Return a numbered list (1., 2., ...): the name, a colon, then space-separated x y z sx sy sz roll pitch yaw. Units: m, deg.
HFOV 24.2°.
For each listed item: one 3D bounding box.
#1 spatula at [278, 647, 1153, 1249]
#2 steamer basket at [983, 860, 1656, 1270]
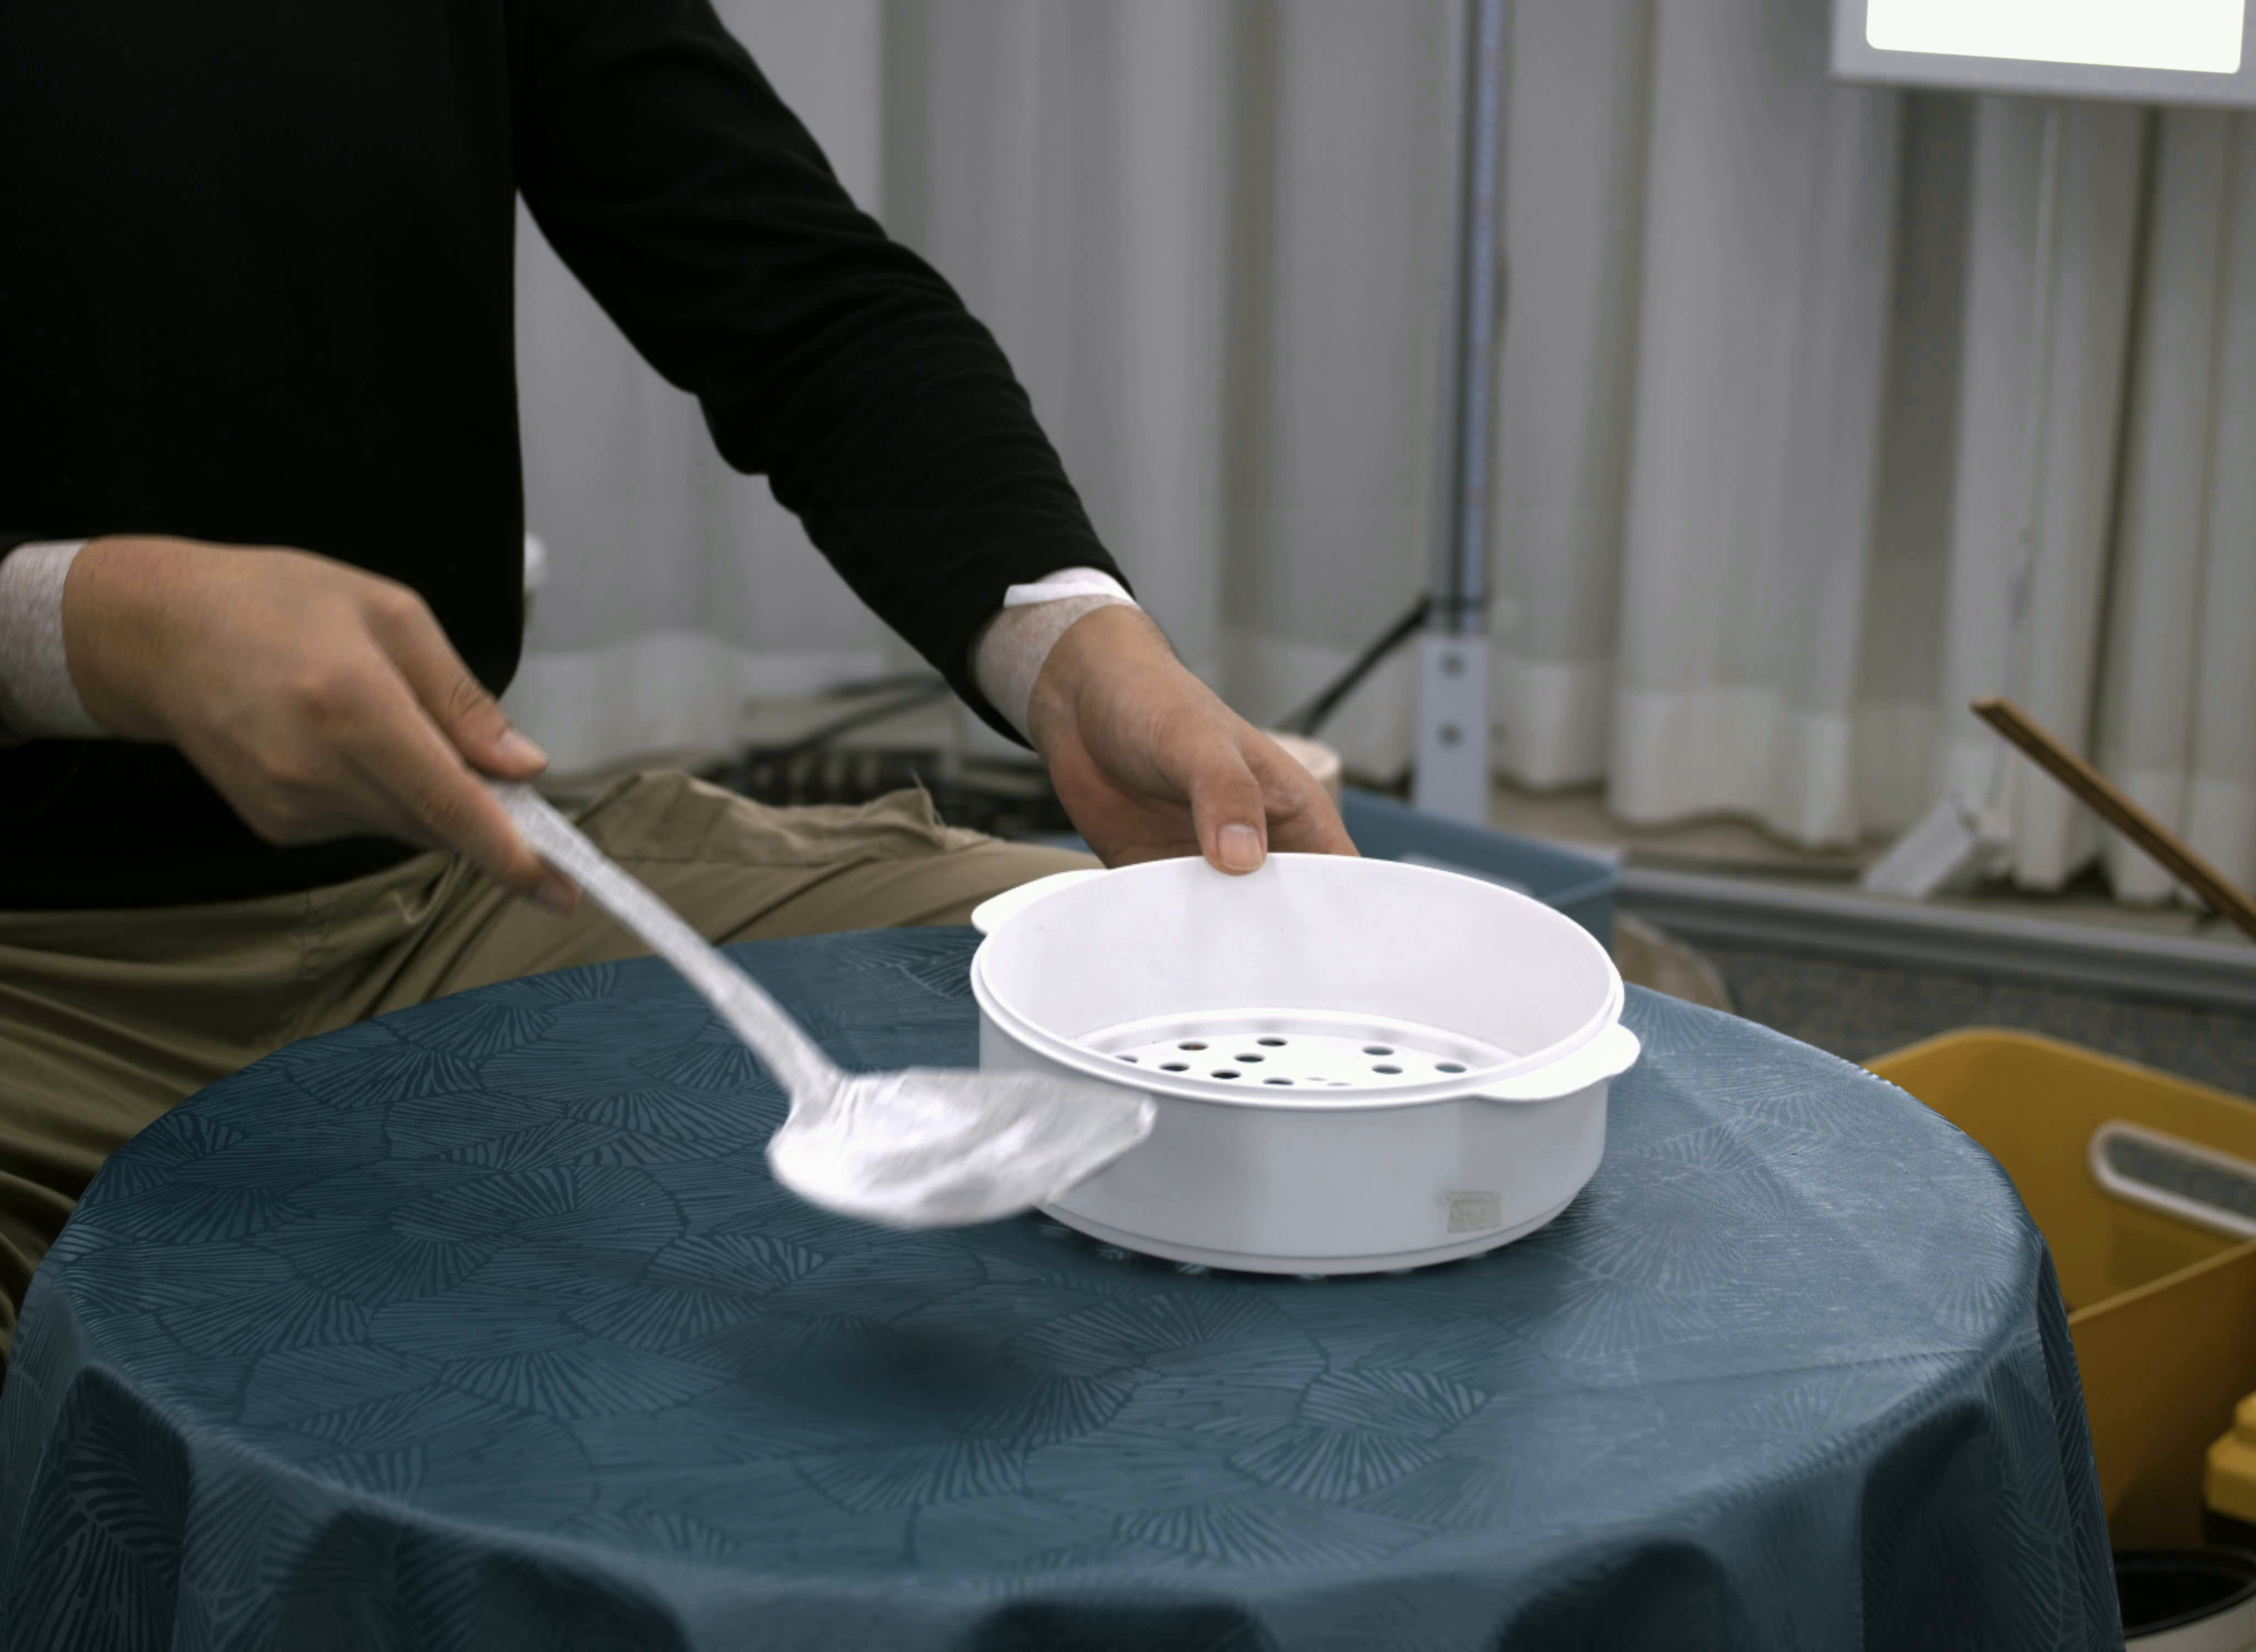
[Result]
1. spatula: -0.142 0.025 1.539 0.099 0.045 0.360 -27 51 -37
2. steamer basket: 0.055 0.073 1.616 0.227 0.070 0.203 17 24 37
